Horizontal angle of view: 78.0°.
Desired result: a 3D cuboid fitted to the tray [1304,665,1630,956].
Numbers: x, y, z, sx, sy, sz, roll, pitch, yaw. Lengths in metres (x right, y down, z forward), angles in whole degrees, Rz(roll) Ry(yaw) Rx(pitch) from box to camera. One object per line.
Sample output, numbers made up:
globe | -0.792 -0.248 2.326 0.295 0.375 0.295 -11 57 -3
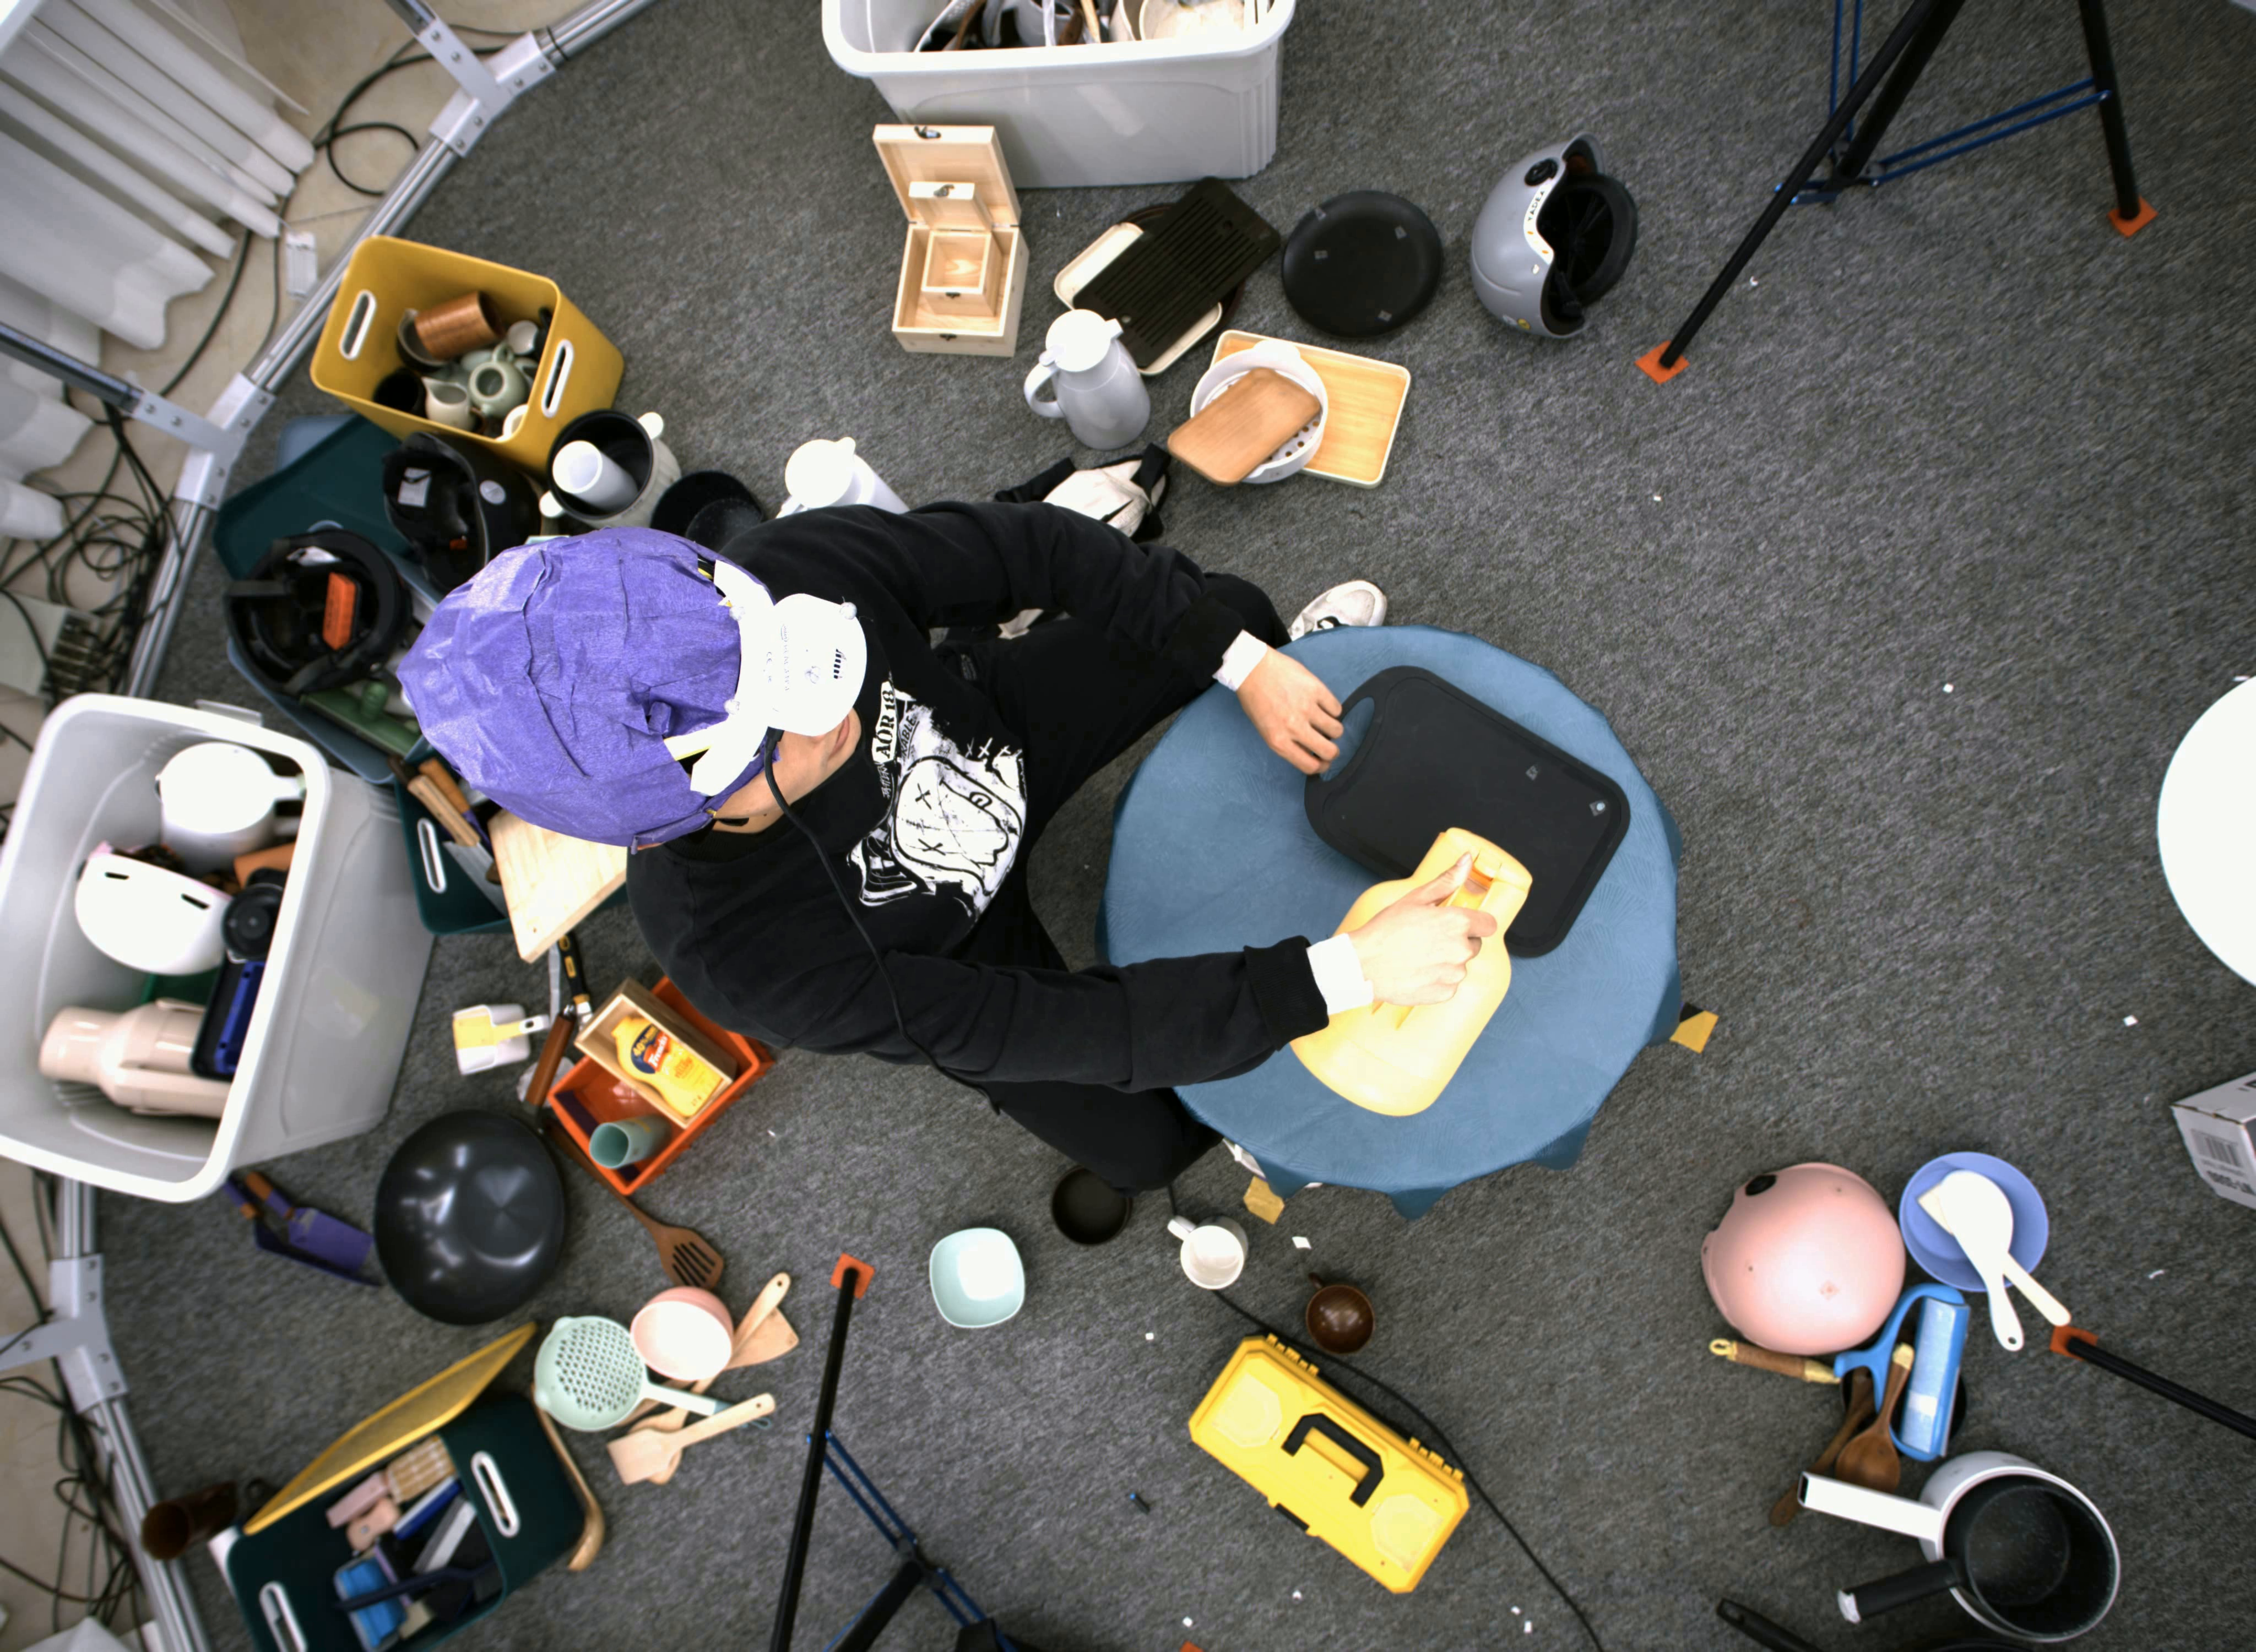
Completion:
tray | 0.344 -0.022 1.418 0.325 0.010 0.211 31 93 0

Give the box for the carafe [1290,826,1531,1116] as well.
carafe | 0.263 0.128 1.258 0.163 0.200 0.264 30 107 13
